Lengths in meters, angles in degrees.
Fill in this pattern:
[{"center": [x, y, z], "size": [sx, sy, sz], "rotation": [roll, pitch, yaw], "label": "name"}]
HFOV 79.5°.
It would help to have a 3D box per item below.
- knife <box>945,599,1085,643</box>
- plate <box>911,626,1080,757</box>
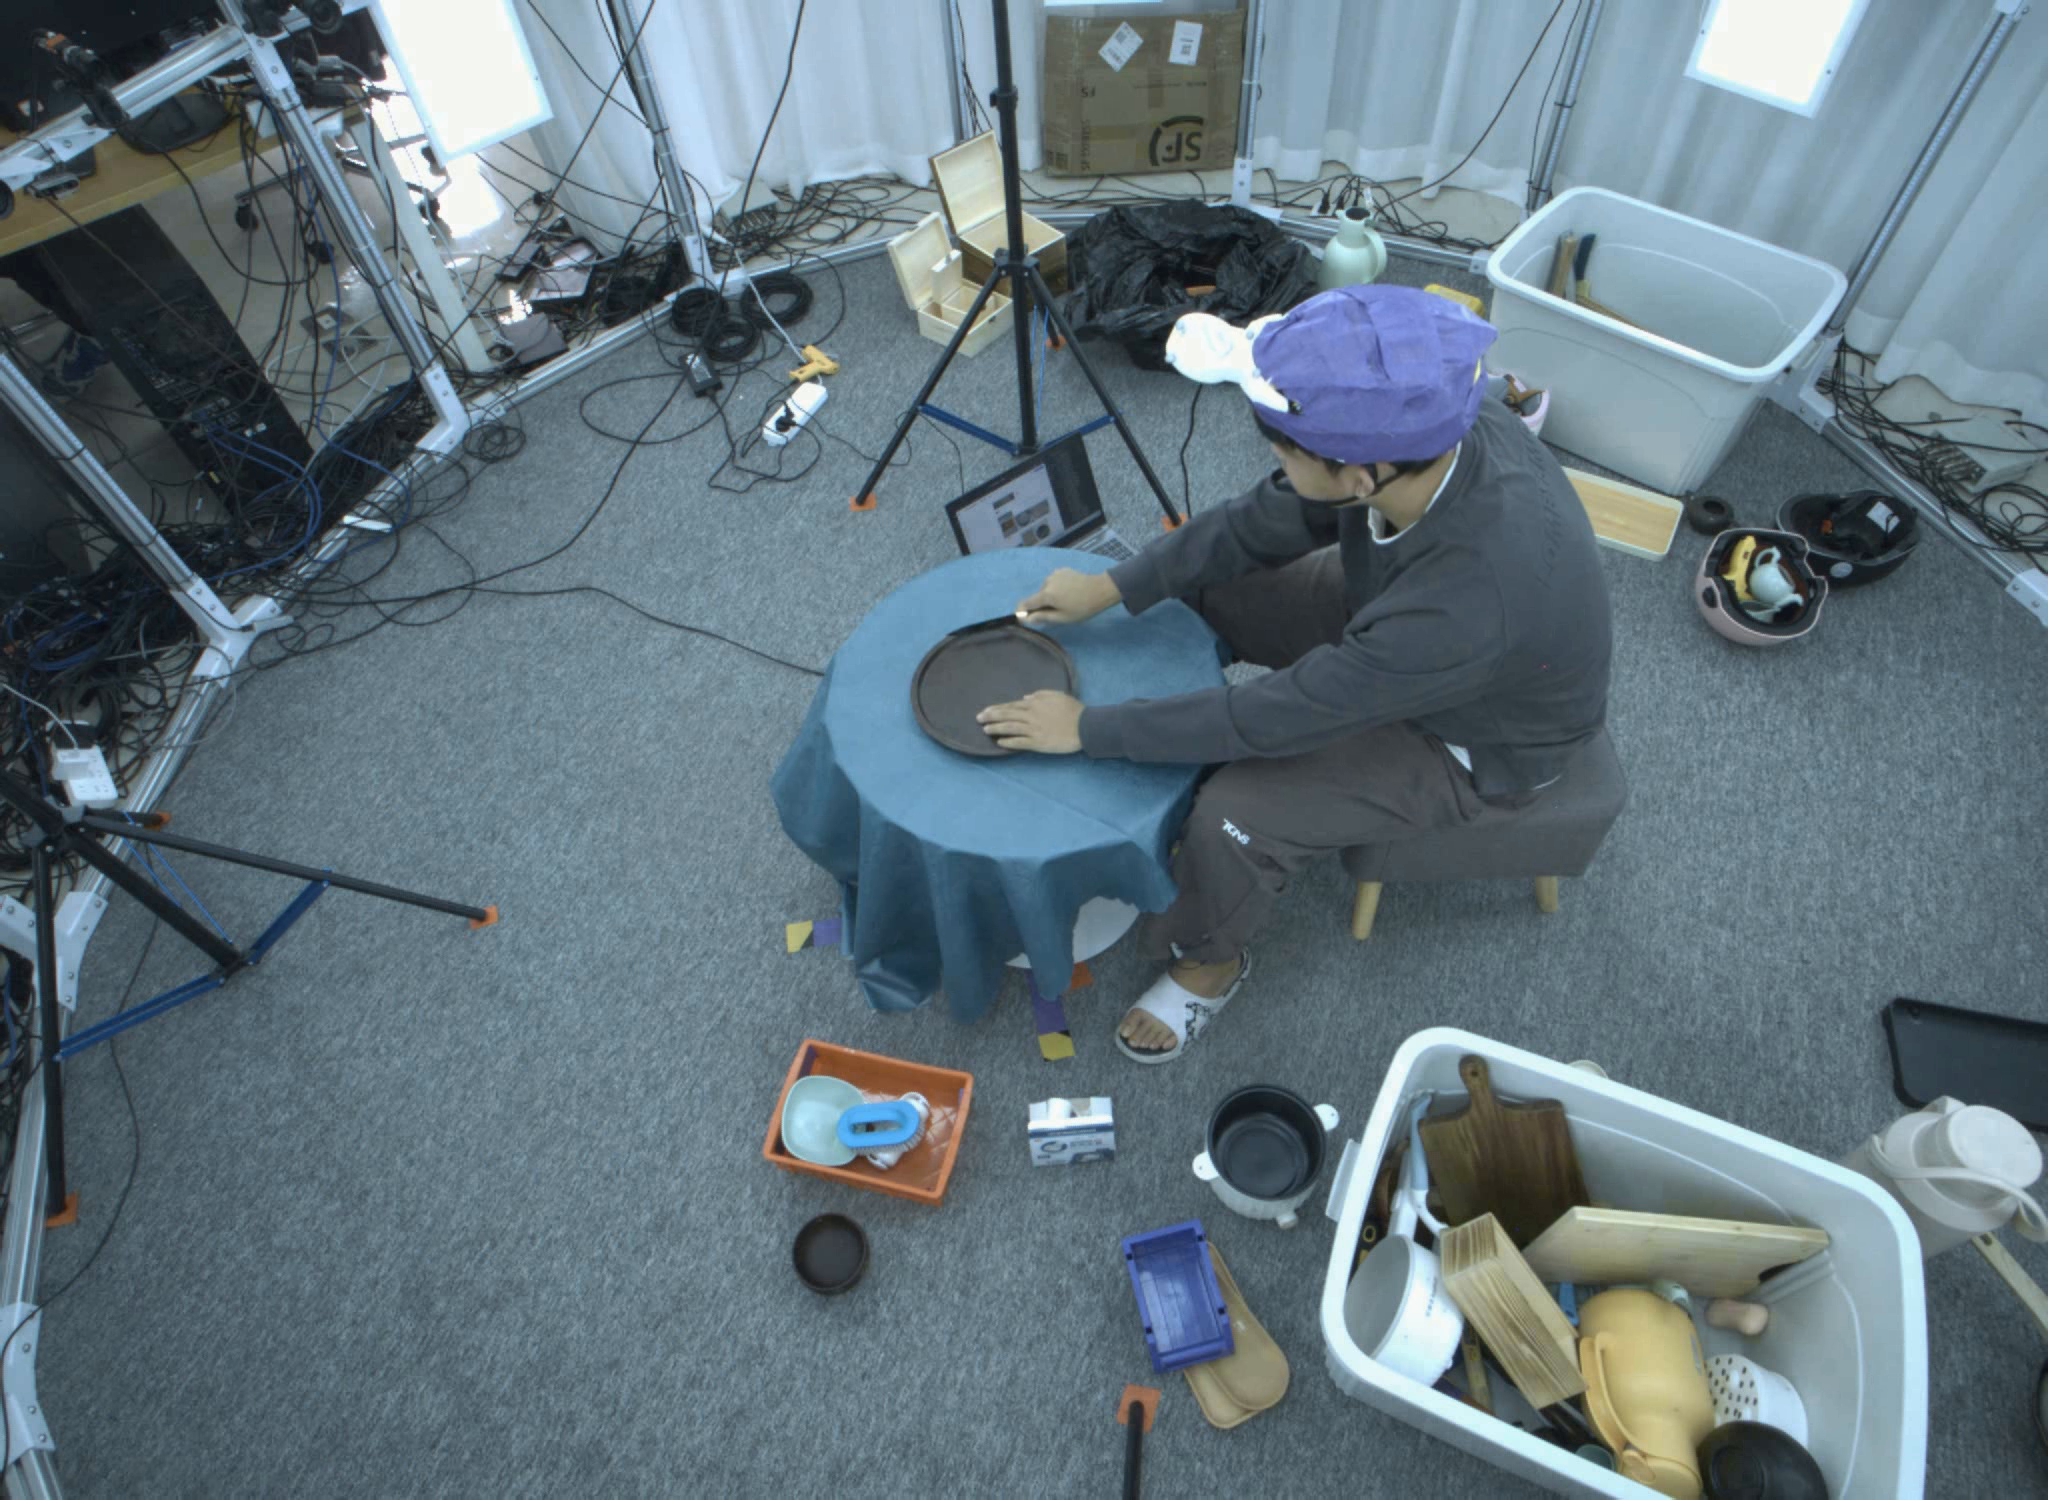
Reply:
[{"center": [-0.014, -0.199, 1.890], "size": [0.226, 0.026, 0.017], "rotation": [-15, 46, -7], "label": "knife"}, {"center": [-0.043, -0.090, 1.838], "size": [0.255, 0.029, 0.252], "rotation": [0, 53, 1], "label": "plate"}]
